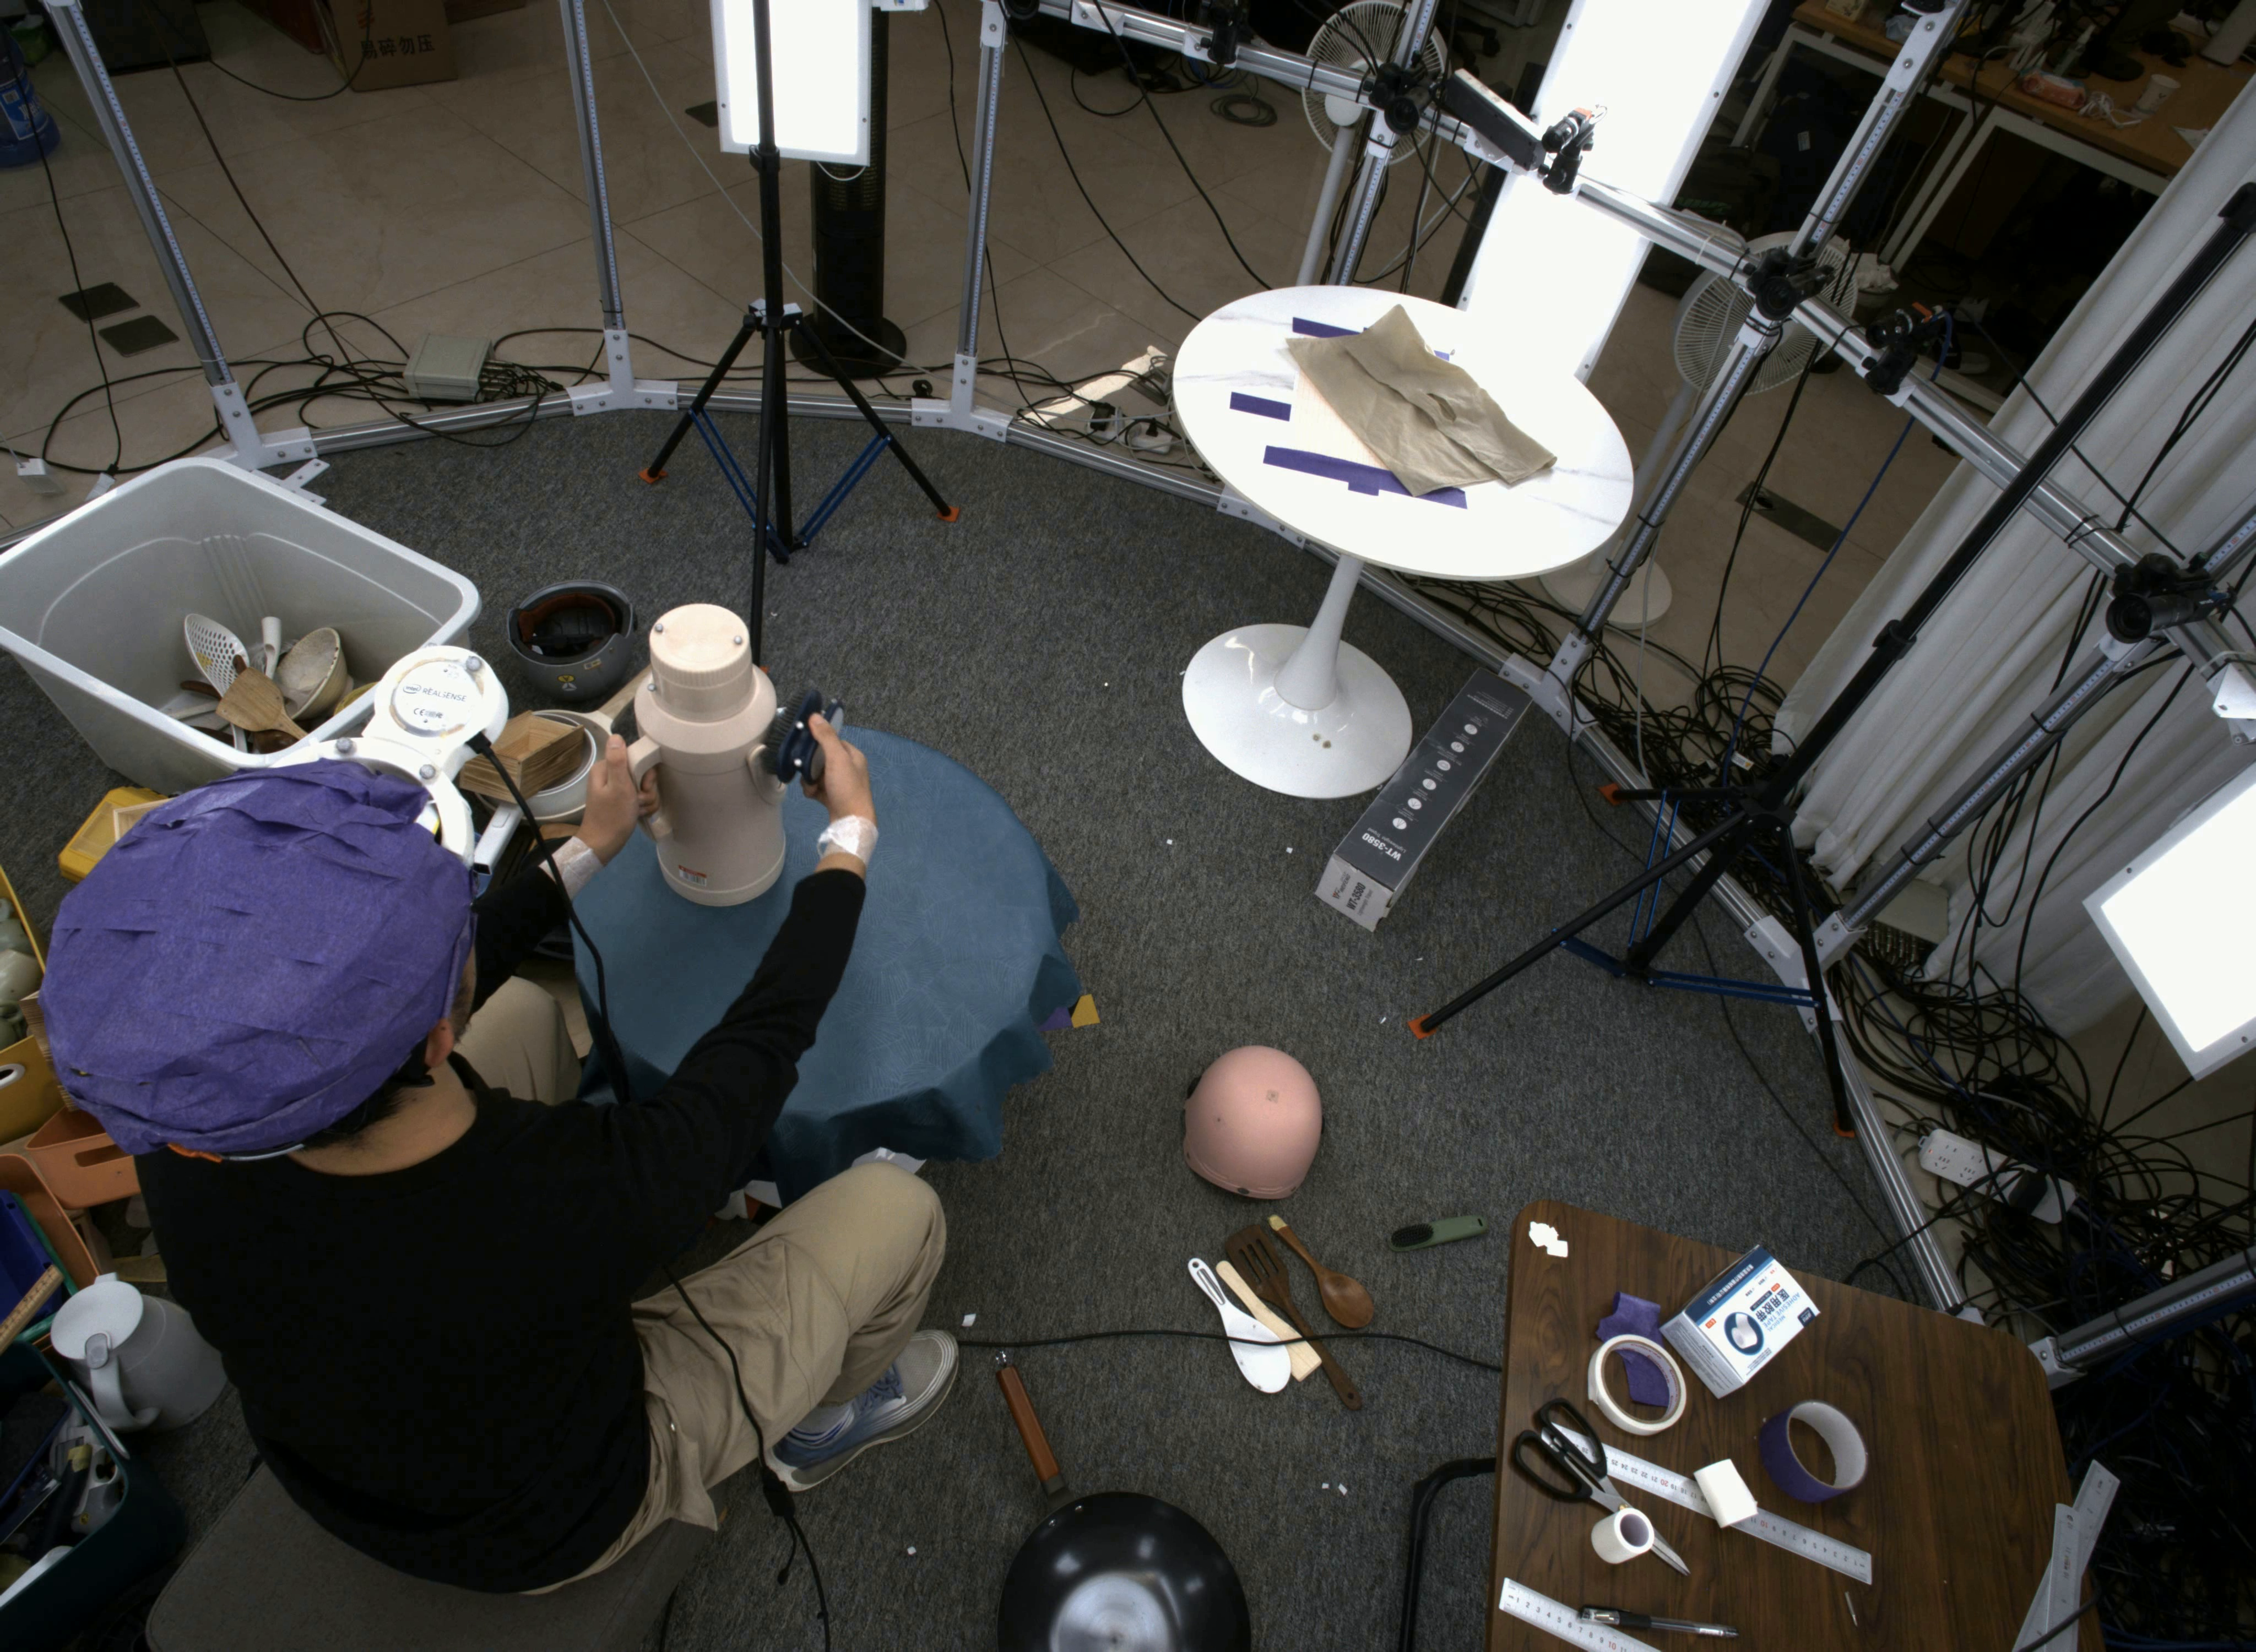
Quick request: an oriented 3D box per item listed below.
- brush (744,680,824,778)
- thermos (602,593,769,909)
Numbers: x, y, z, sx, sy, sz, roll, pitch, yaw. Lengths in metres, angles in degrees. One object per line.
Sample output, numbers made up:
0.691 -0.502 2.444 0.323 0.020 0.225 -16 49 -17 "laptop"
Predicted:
-0.389 -0.110 1.458 0.060 0.069 0.120 14 55 2 "brush"
-0.518 -0.076 1.494 0.172 0.414 0.207 34 53 13 "thermos"
